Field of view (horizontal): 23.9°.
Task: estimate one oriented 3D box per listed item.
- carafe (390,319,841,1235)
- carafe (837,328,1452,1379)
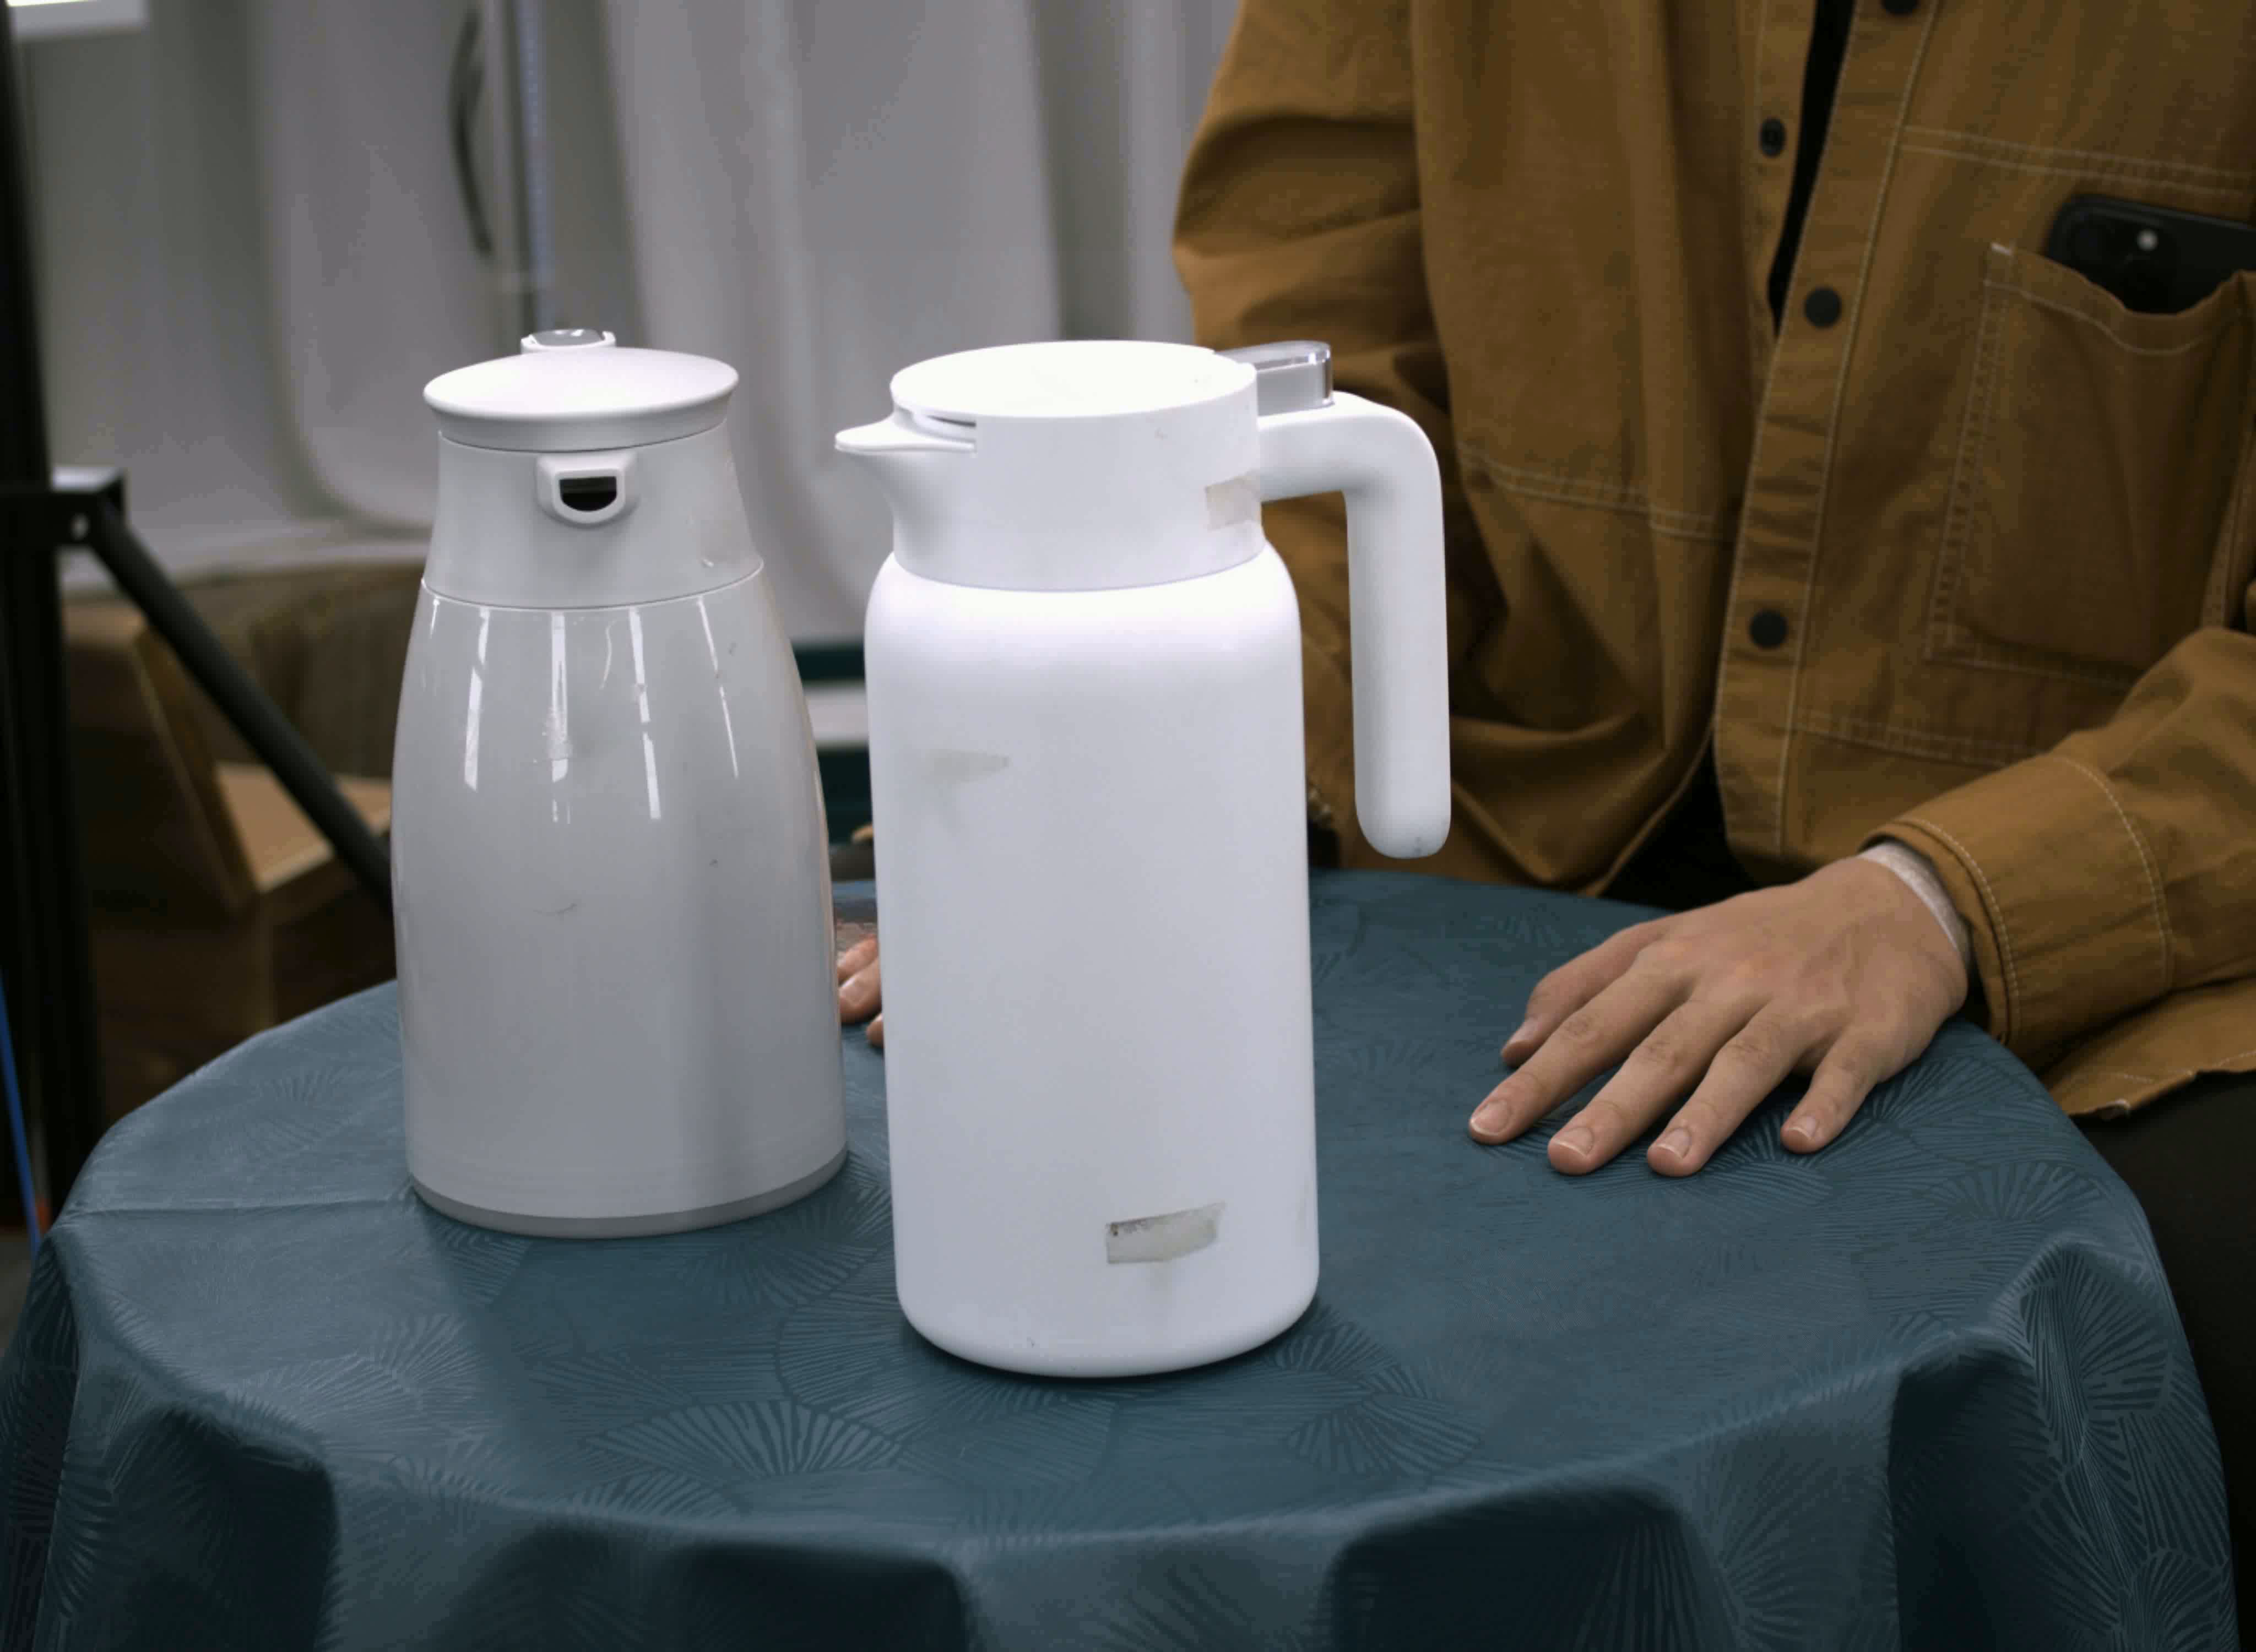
[{"bbox_3d":[-0.157,-0.023,1.589,0.131,0.249,0.169,-3,14,-6],"label":"carafe"},{"bbox_3d":[0.006,0.003,1.434,0.169,0.269,0.126,-9,14,-24],"label":"carafe"}]
